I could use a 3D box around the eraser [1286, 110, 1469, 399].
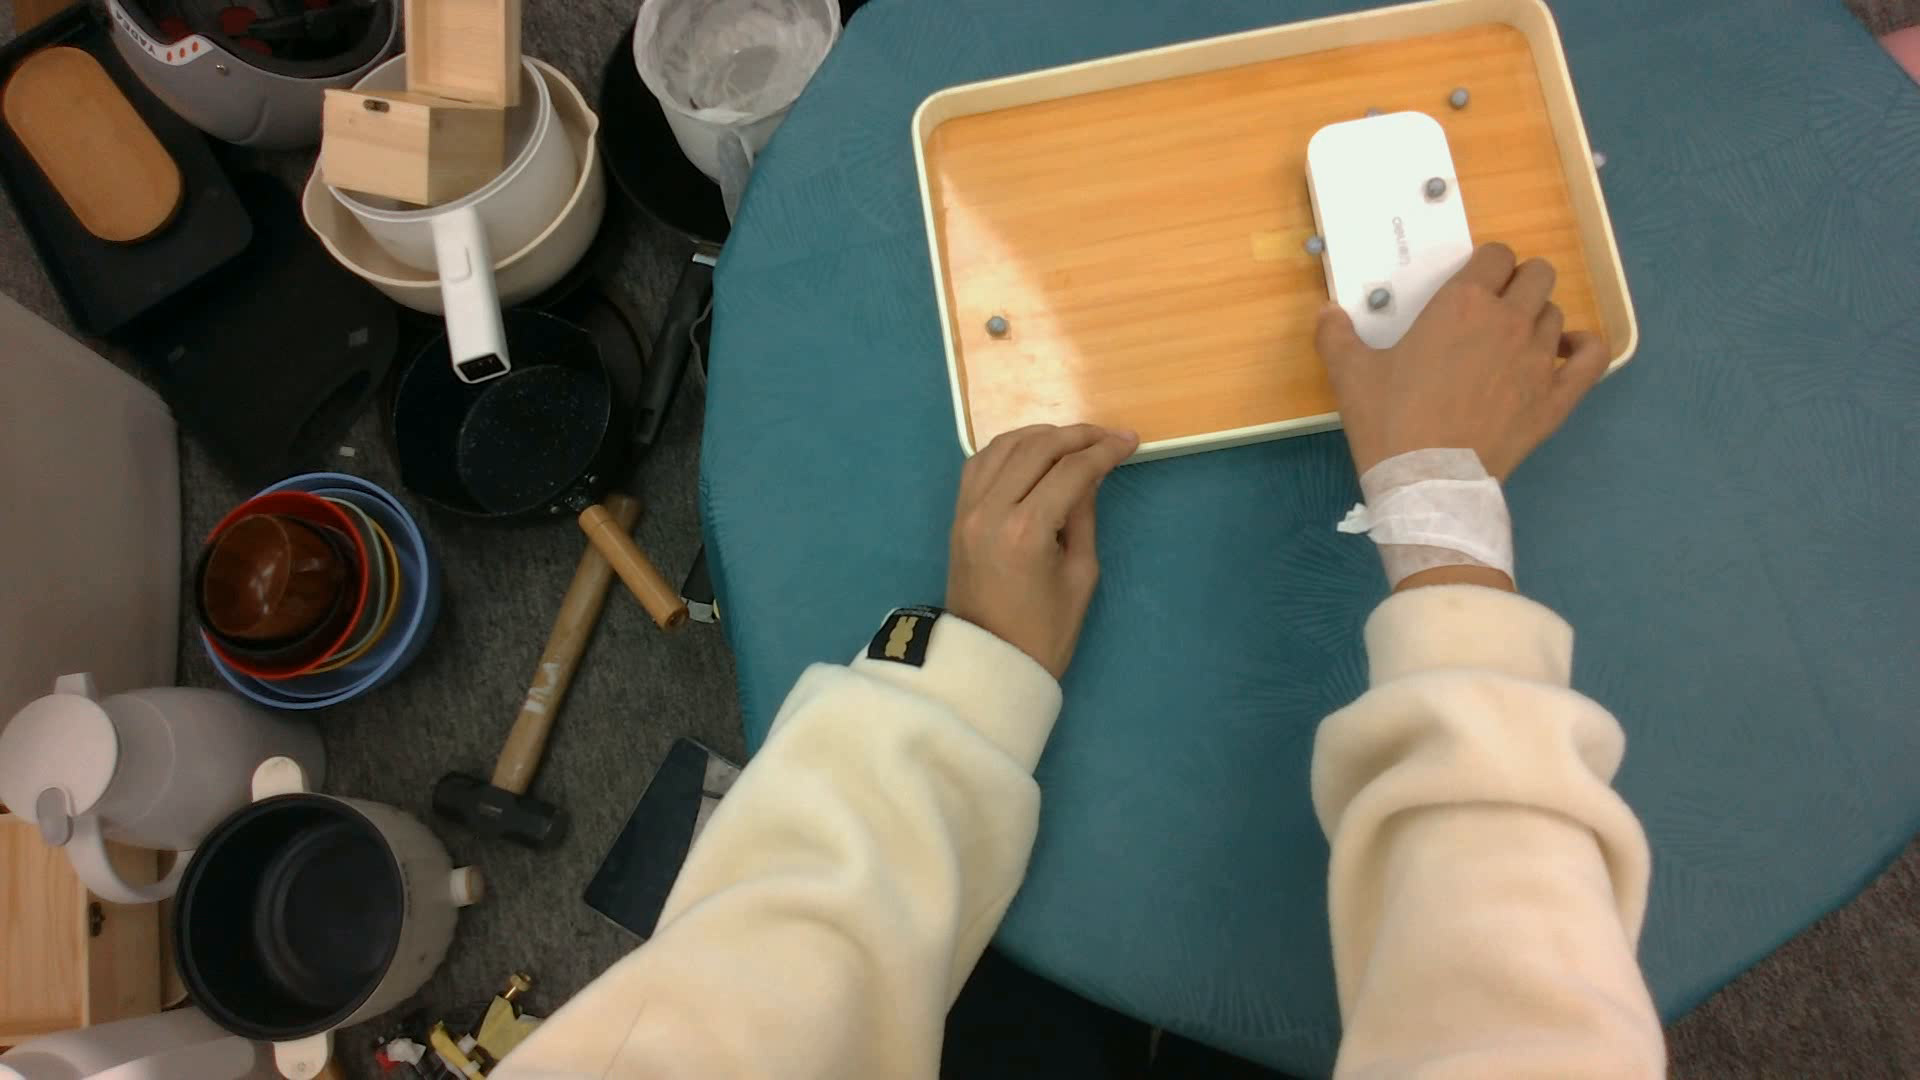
[{"bbox_3d":[0.185,-0.129,0.622,0.063,0.034,0.131,-8,78,2],"label":"eraser"}]

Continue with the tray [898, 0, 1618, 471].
[{"bbox_3d":[0.130,-0.146,0.638,0.300,0.027,0.192,-9,77,2],"label":"tray"}]
